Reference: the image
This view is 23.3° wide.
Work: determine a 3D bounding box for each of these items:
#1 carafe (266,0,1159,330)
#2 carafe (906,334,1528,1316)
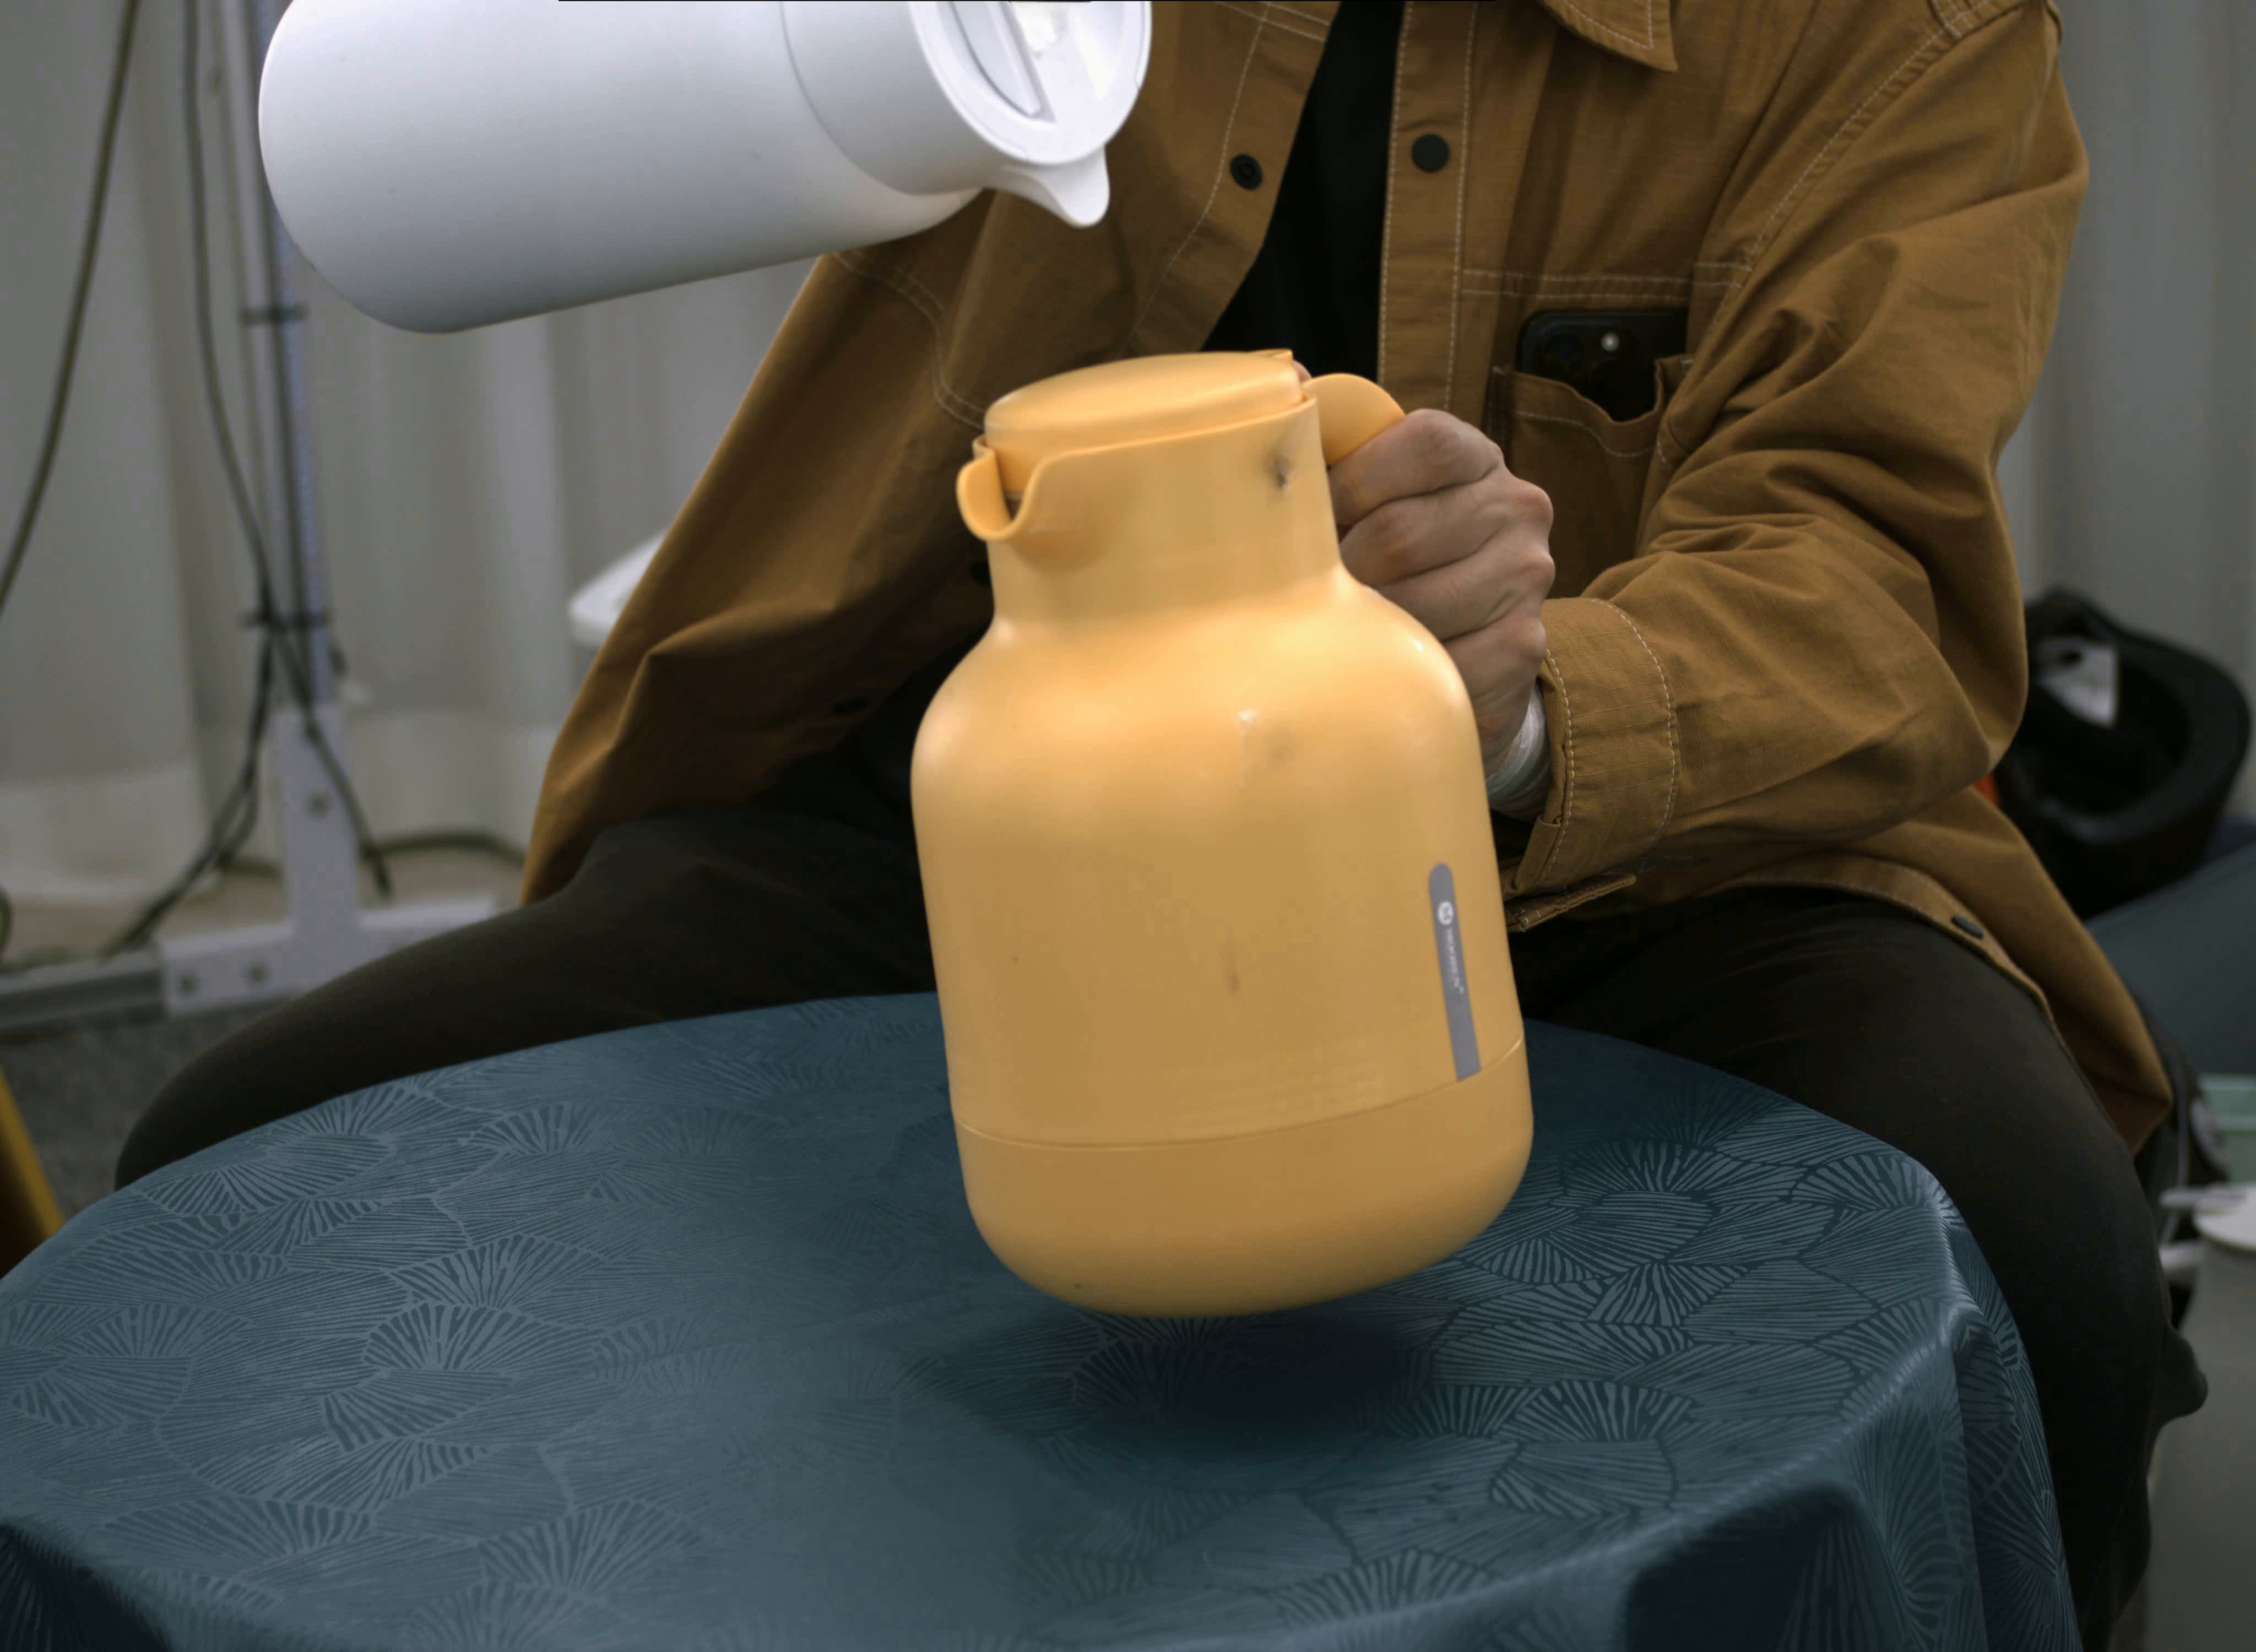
[{"bbox_3d":[-0.128,-0.231,1.566,0.269,0.172,0.124,-6,24,44],"label":"carafe"},{"bbox_3d":[0.033,-0.008,1.545,0.164,0.259,0.202,3,16,39],"label":"carafe"}]
